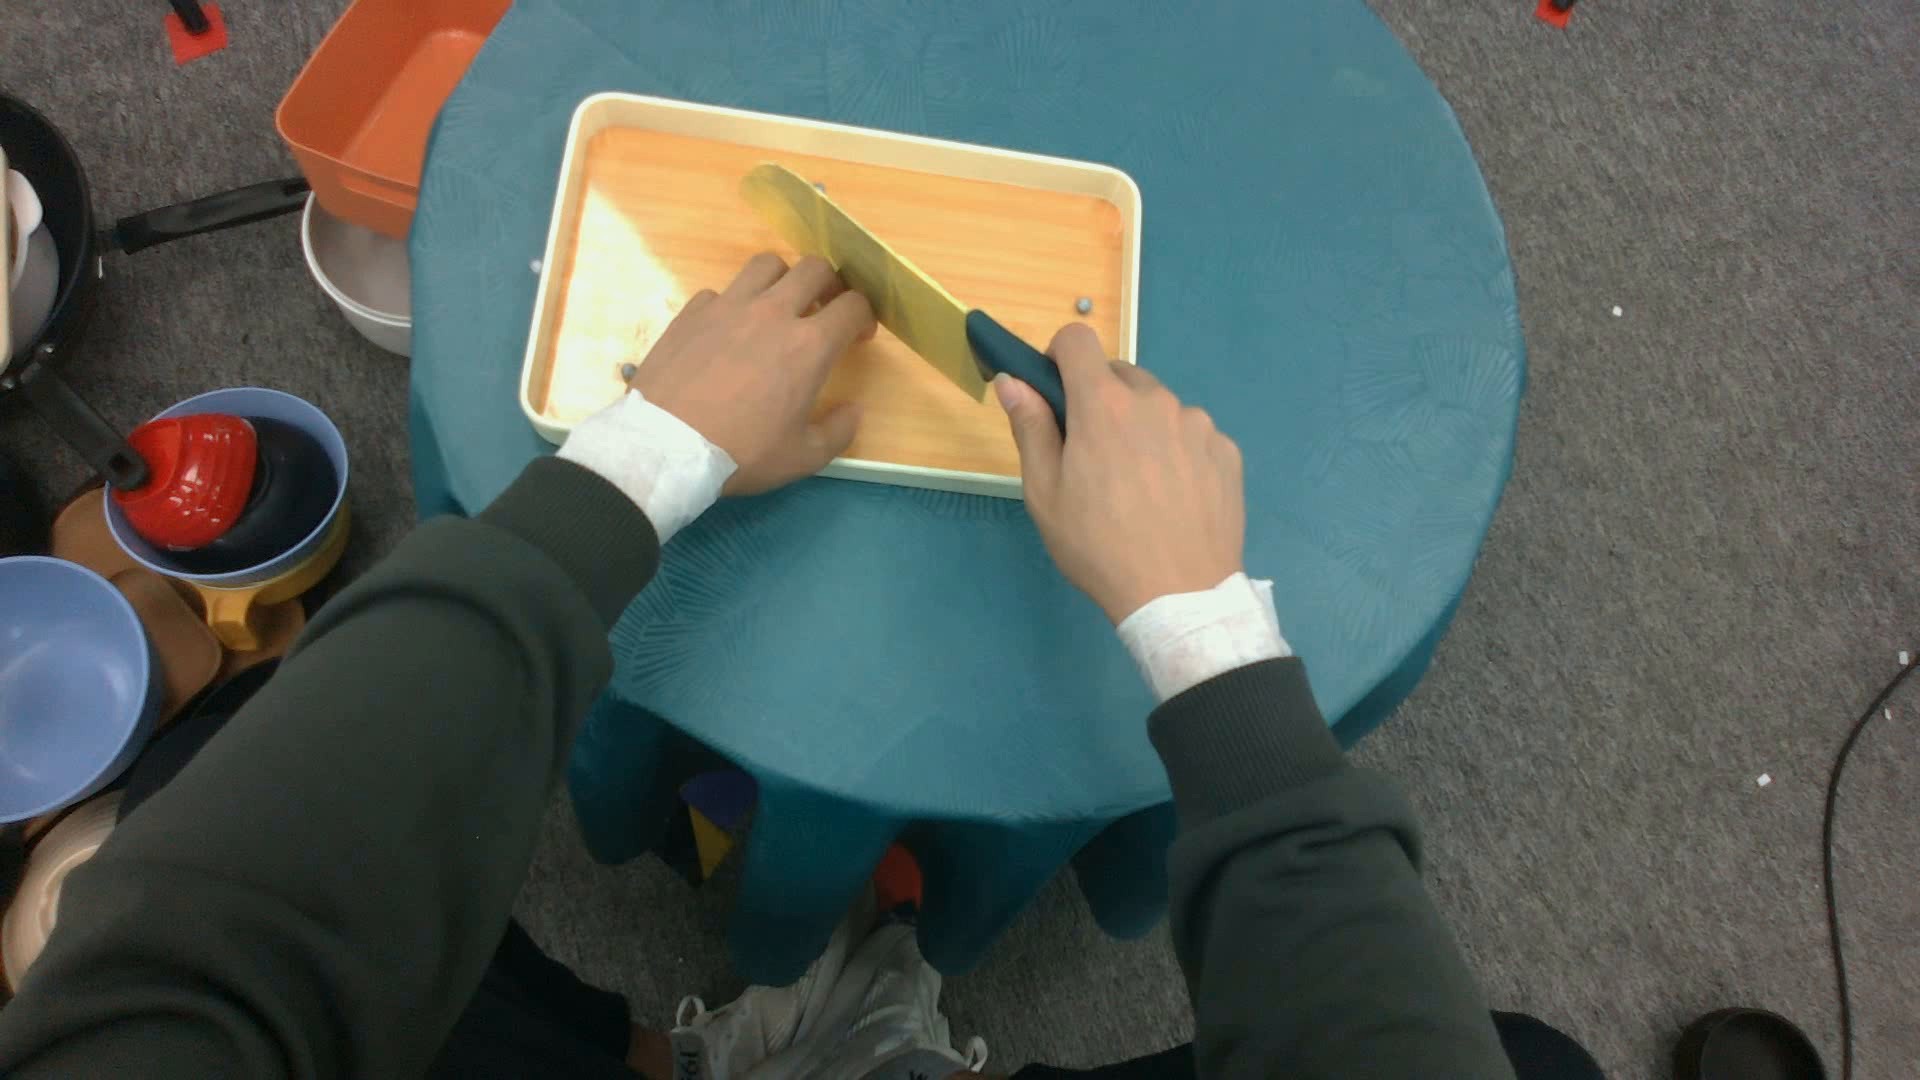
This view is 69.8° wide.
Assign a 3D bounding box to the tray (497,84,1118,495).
[{"bbox_3d":[-0.070,-0.129,0.708,0.300,0.027,0.192,6,71,-7],"label":"tray"}]

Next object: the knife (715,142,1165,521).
[{"bbox_3d":[-0.019,-0.101,0.652,0.289,0.081,0.027,41,75,16],"label":"knife"}]
